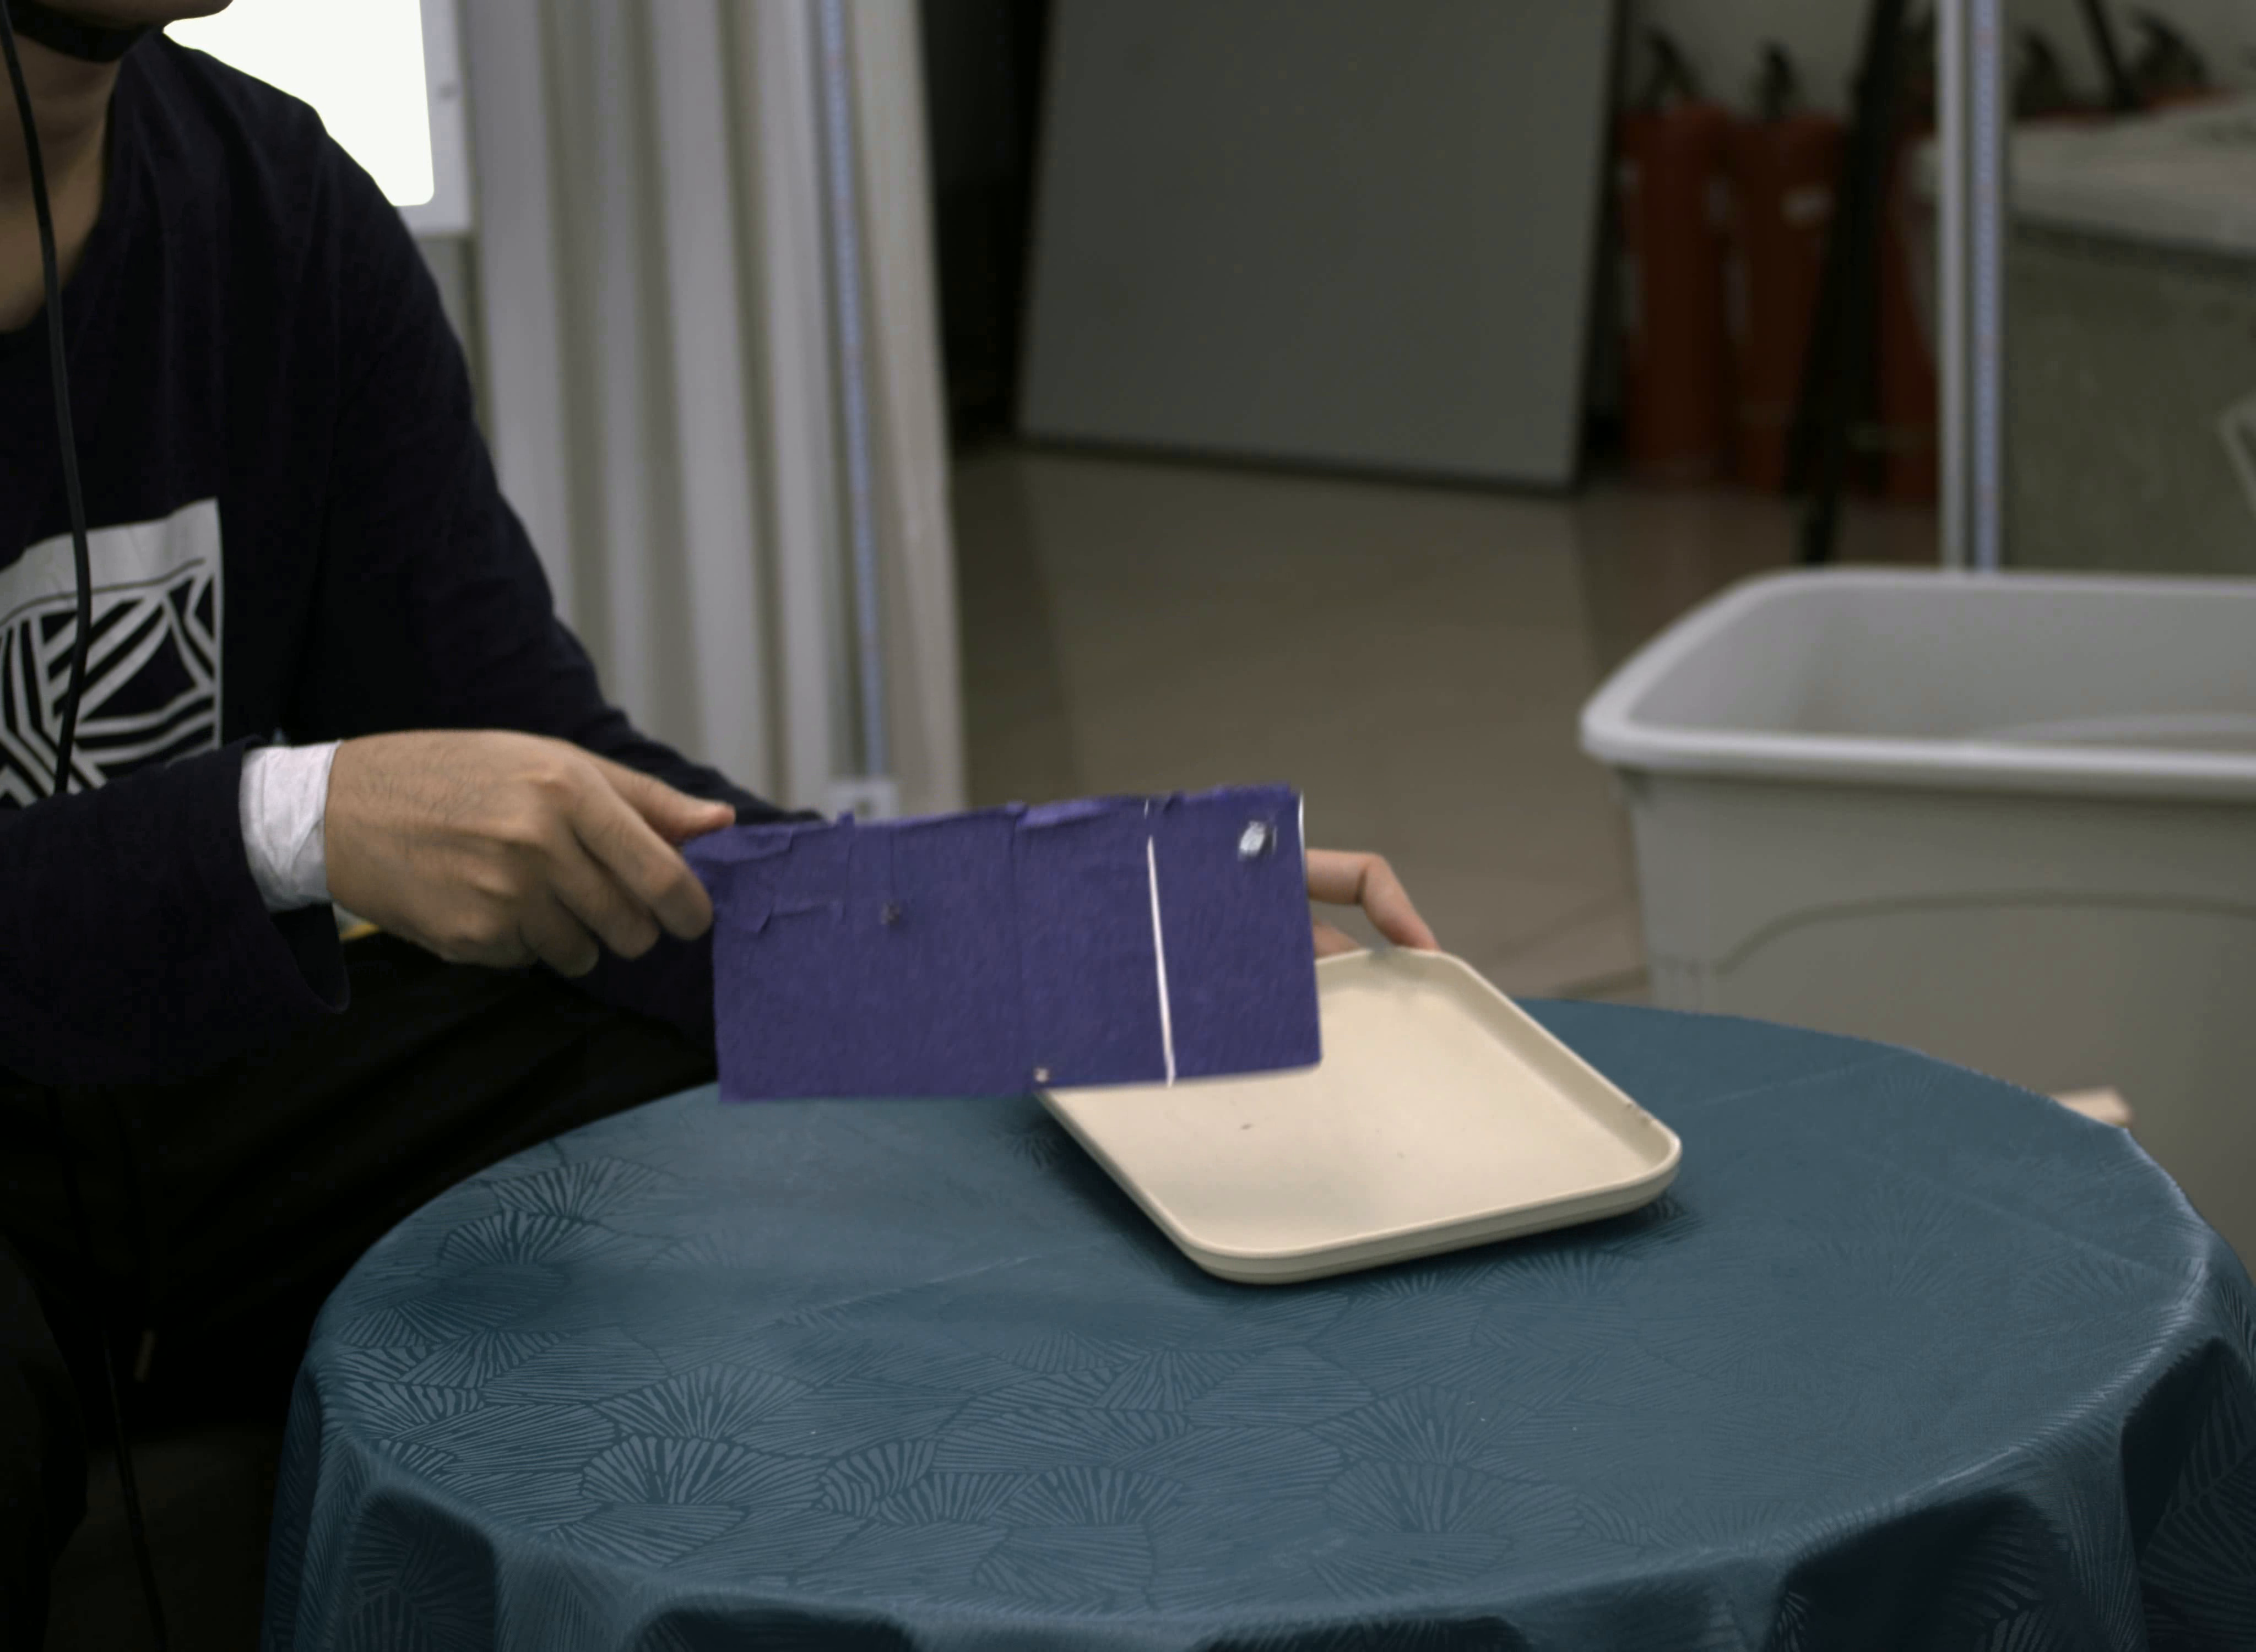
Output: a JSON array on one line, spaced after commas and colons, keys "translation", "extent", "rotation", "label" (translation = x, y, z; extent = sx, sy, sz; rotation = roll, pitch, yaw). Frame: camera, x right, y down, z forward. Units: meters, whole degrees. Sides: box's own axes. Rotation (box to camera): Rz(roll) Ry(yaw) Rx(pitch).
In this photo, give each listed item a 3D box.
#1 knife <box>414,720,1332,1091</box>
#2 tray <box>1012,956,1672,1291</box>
[{"translation": [-0.085, 0.035, 1.728], "extent": [0.315, 0.105, 0.032], "rotation": [-7, -5, 24], "label": "knife"}, {"translation": [0.067, 0.097, 1.782], "extent": [0.168, 0.017, 0.242], "rotation": [-11, 19, -14], "label": "tray"}]
